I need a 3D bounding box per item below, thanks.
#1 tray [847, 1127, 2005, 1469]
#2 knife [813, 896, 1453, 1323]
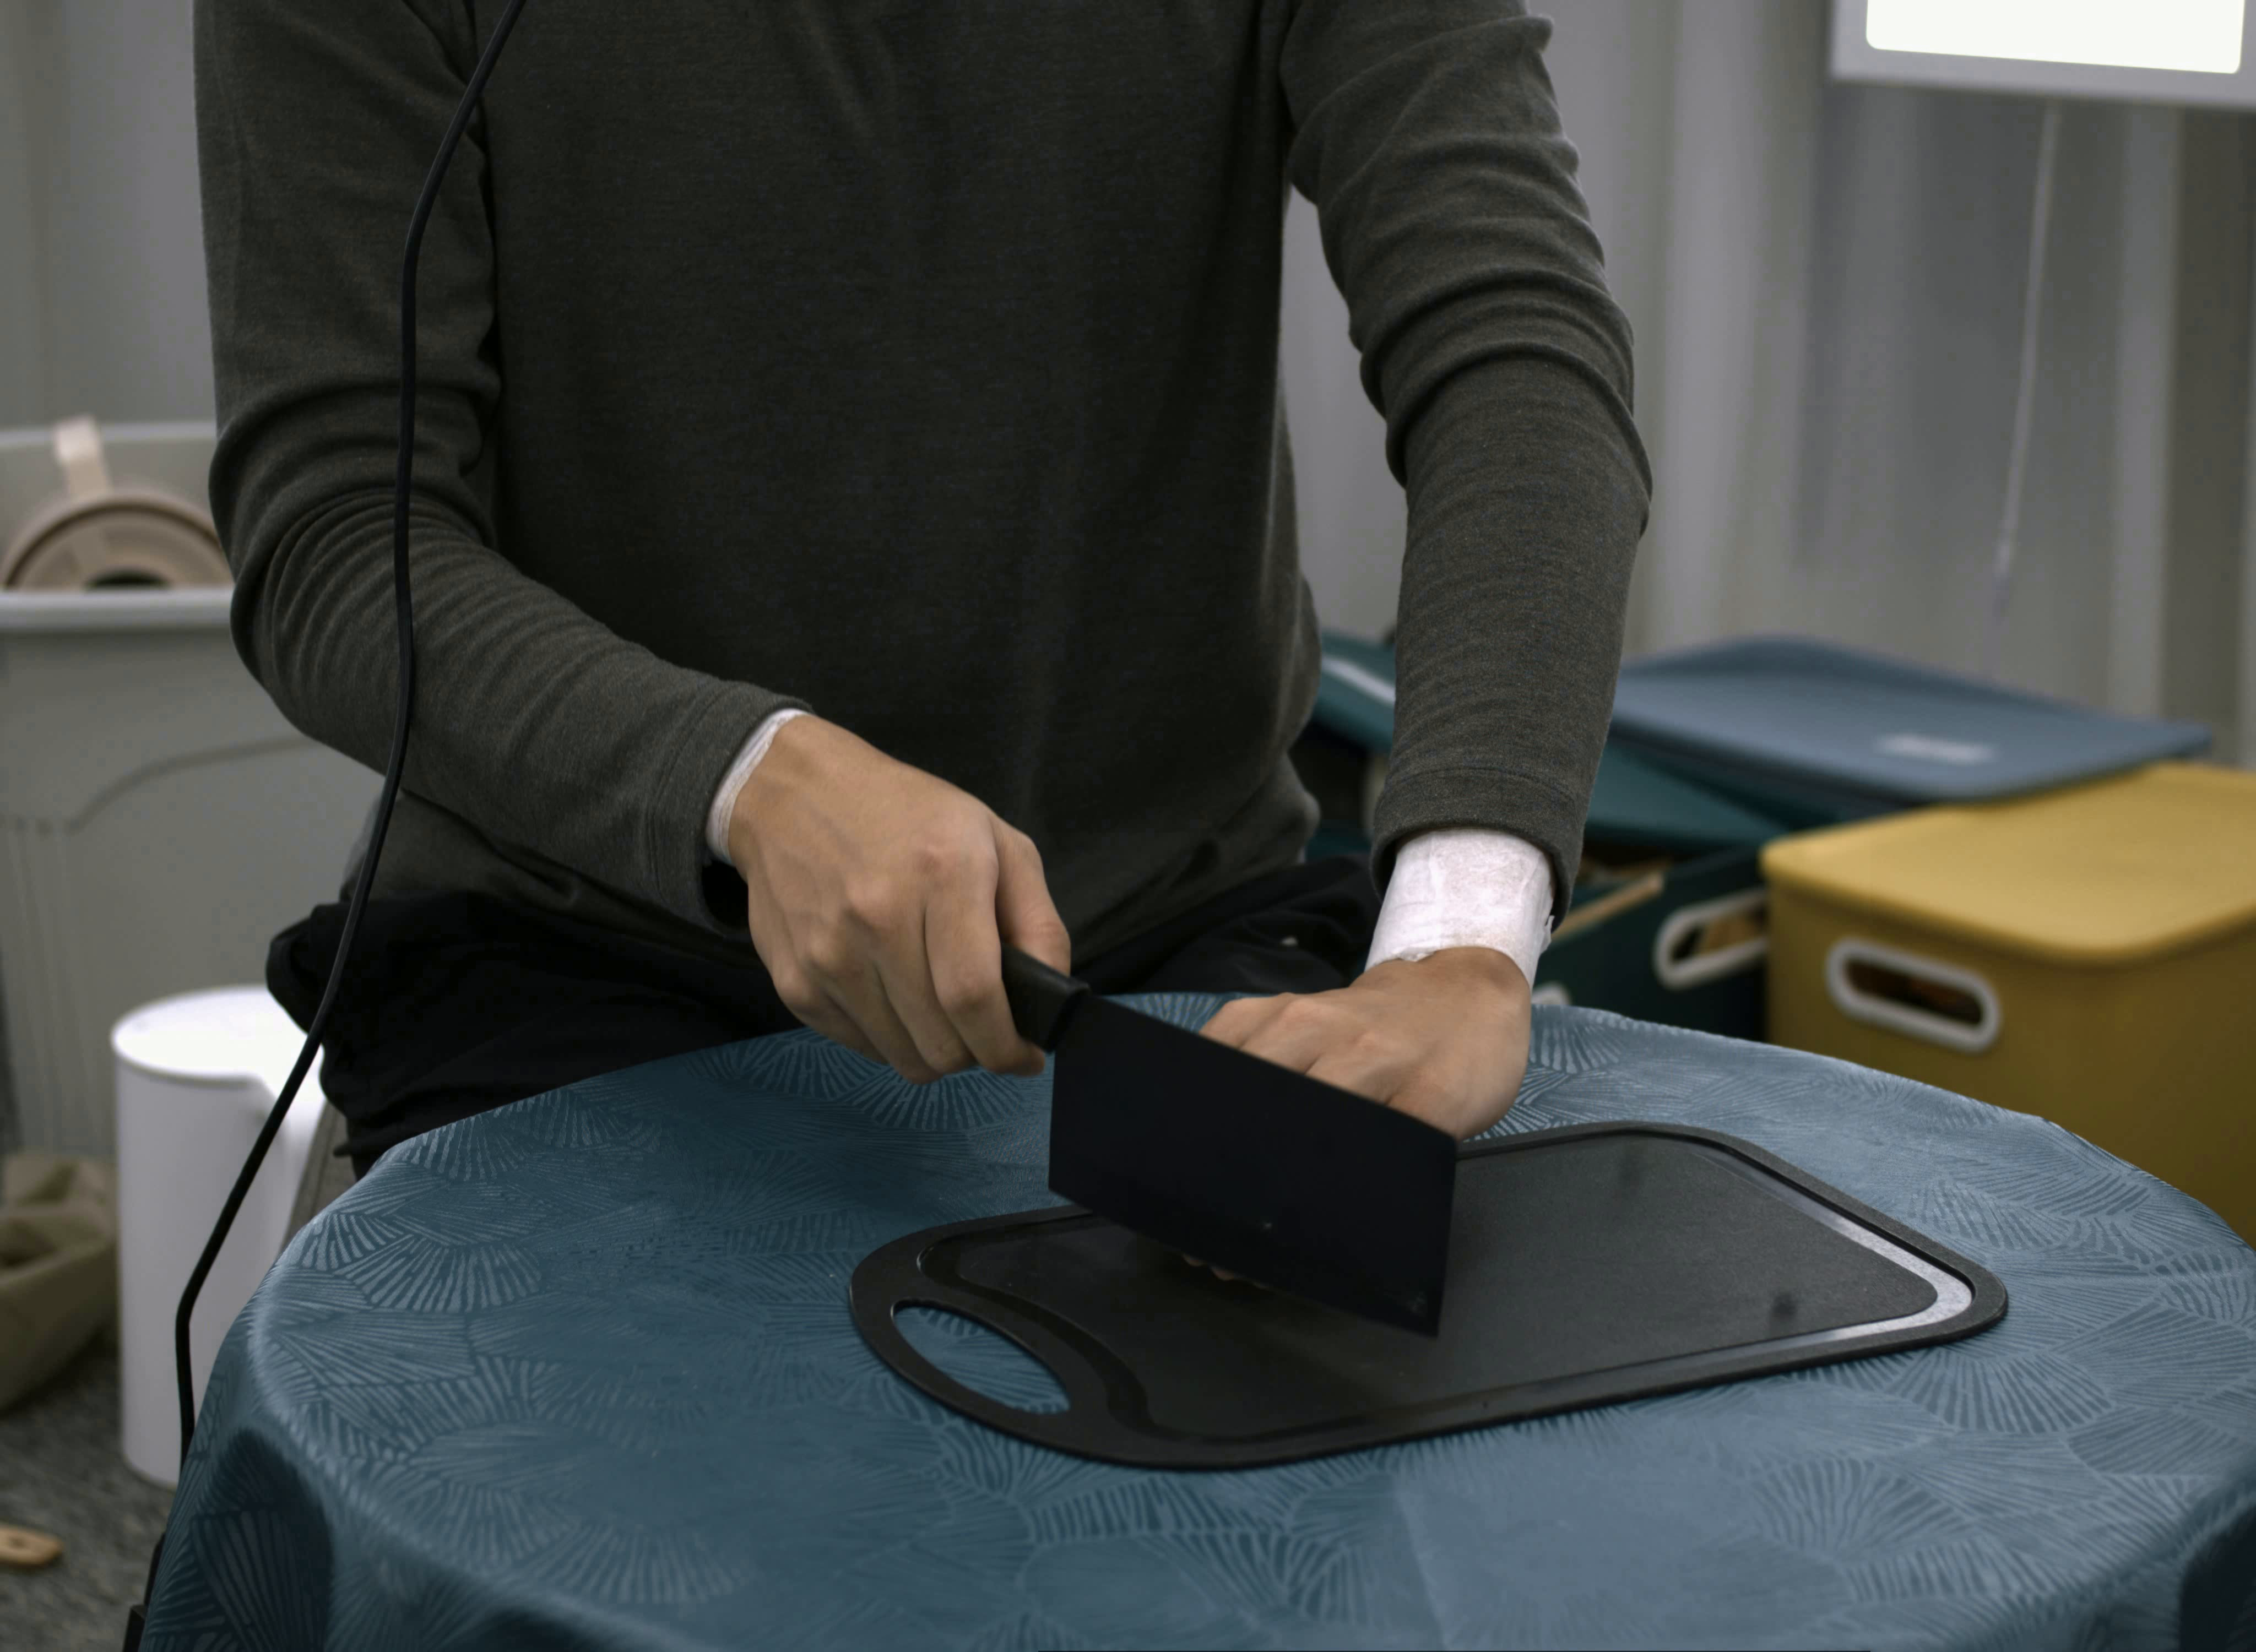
[{"bbox_3d":[0.081,0.133,1.540,0.326,0.010,0.208,-7,16,-25],"label":"tray"},{"bbox_3d":[-0.003,0.077,1.553,0.021,0.081,0.298,-4,19,-38],"label":"knife"}]
